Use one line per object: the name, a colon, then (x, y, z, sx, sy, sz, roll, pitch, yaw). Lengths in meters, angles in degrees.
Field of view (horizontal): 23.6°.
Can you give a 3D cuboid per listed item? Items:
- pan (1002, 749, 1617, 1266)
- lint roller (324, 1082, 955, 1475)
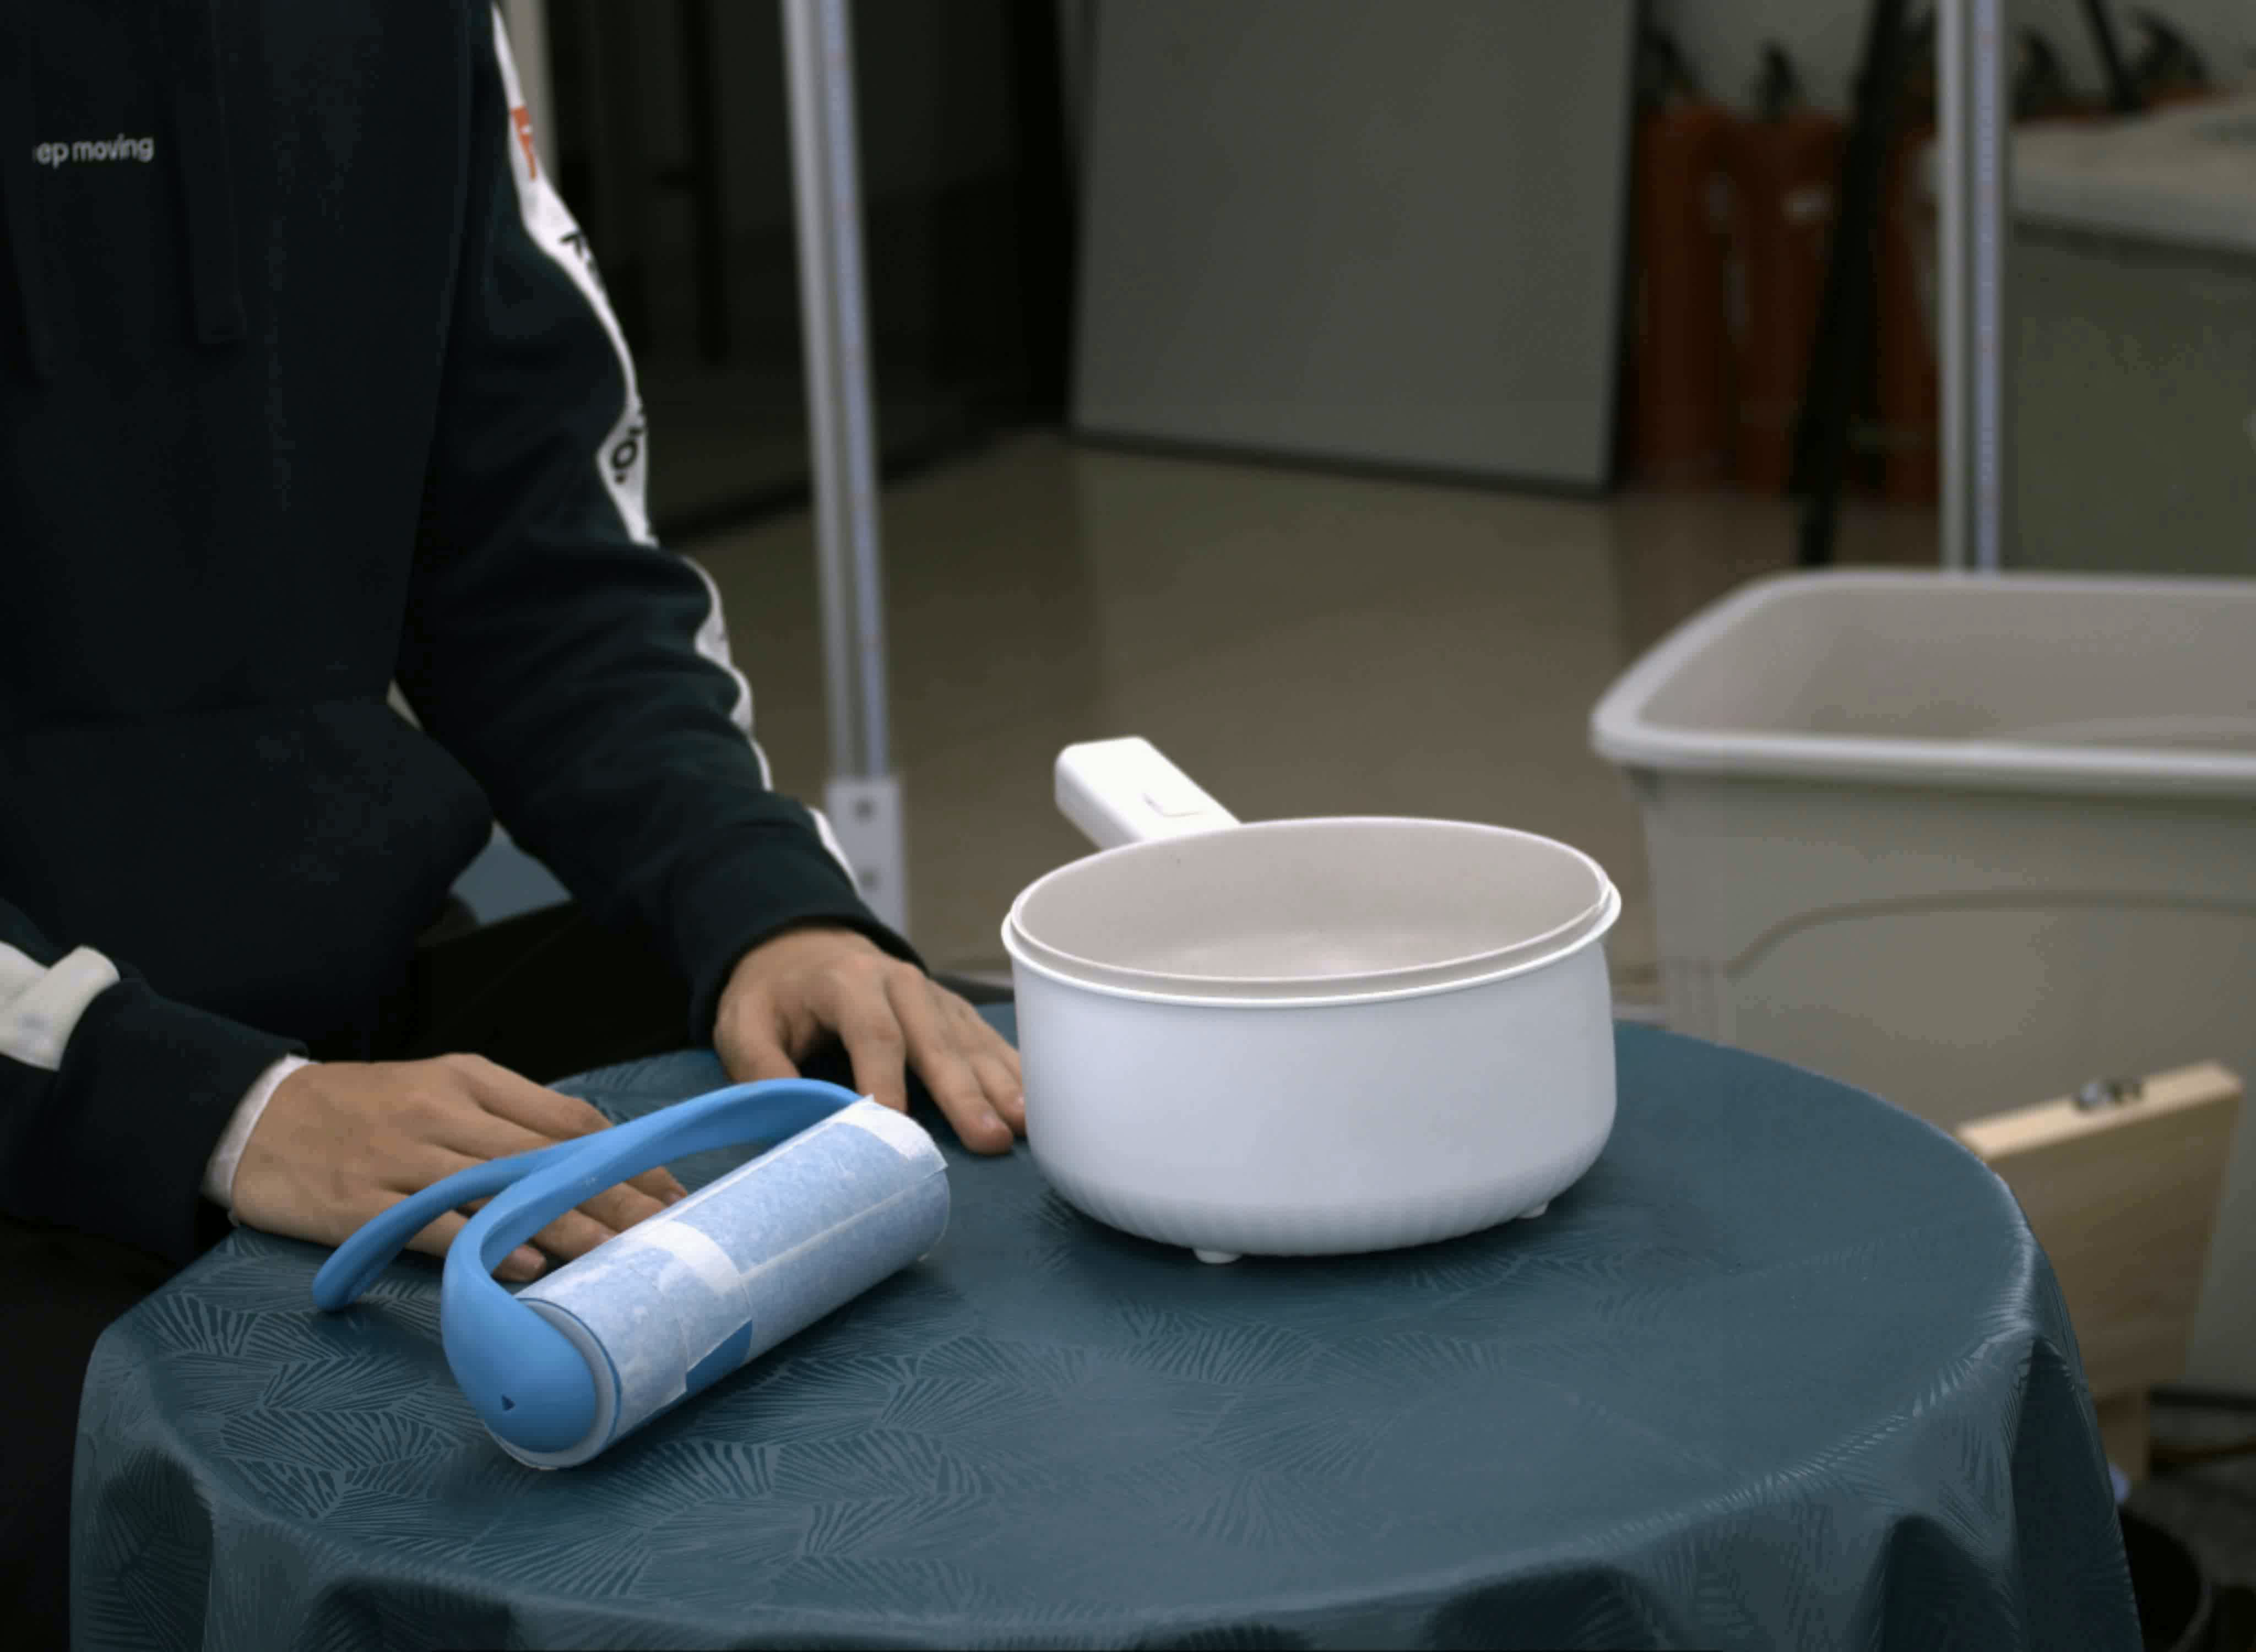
pan: (0.042, 0.055, 1.820, 0.197, 0.103, 0.357, -8, 13, -13)
lint roller: (-0.174, 0.133, 1.656, 0.180, 0.068, 0.226, 3, 17, 26)
